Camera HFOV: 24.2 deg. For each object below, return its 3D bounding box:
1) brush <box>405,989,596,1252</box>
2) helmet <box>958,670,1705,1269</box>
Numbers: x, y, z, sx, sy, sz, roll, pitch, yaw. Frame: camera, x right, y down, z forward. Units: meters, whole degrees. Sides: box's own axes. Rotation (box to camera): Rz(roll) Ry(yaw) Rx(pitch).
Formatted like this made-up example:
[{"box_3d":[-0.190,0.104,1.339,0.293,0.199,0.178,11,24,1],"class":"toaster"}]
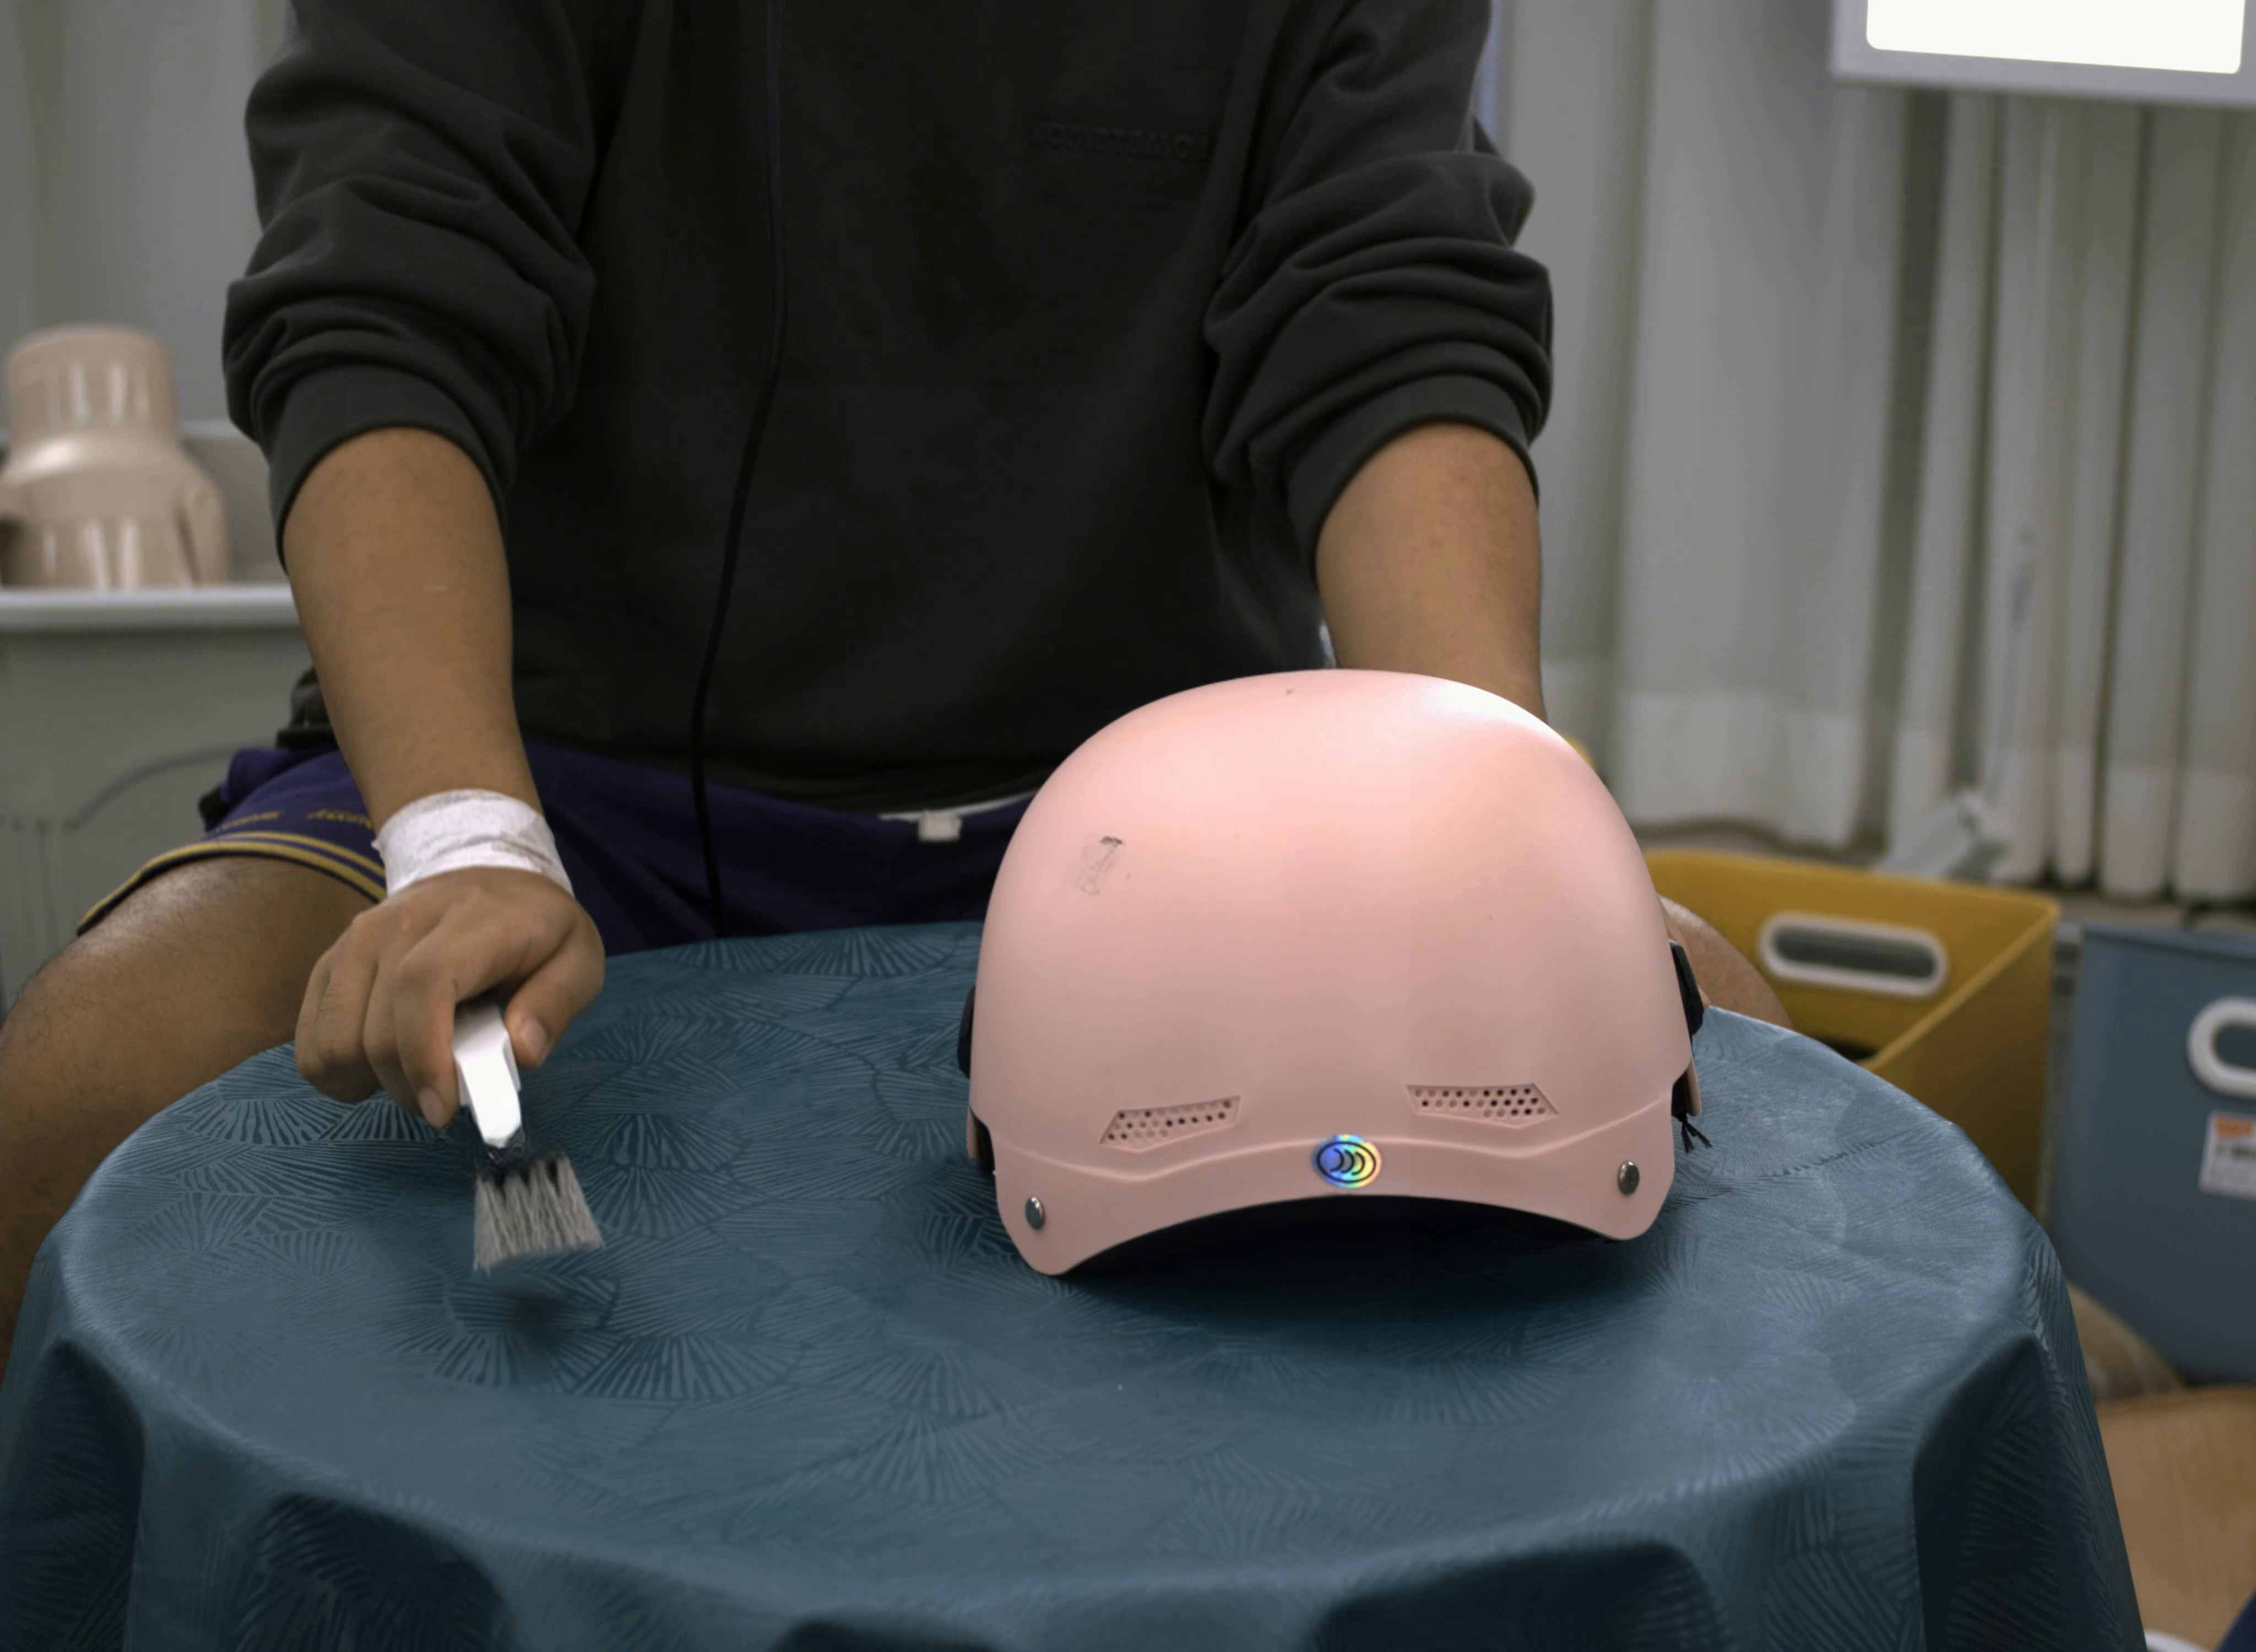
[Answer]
[{"box_3d":[-0.192,0.089,1.582,0.034,0.050,0.242,-12,10,-11],"class":"brush"},{"box_3d":[0.059,0.030,1.614,0.233,0.160,0.265,-5,12,2],"class":"helmet"}]
